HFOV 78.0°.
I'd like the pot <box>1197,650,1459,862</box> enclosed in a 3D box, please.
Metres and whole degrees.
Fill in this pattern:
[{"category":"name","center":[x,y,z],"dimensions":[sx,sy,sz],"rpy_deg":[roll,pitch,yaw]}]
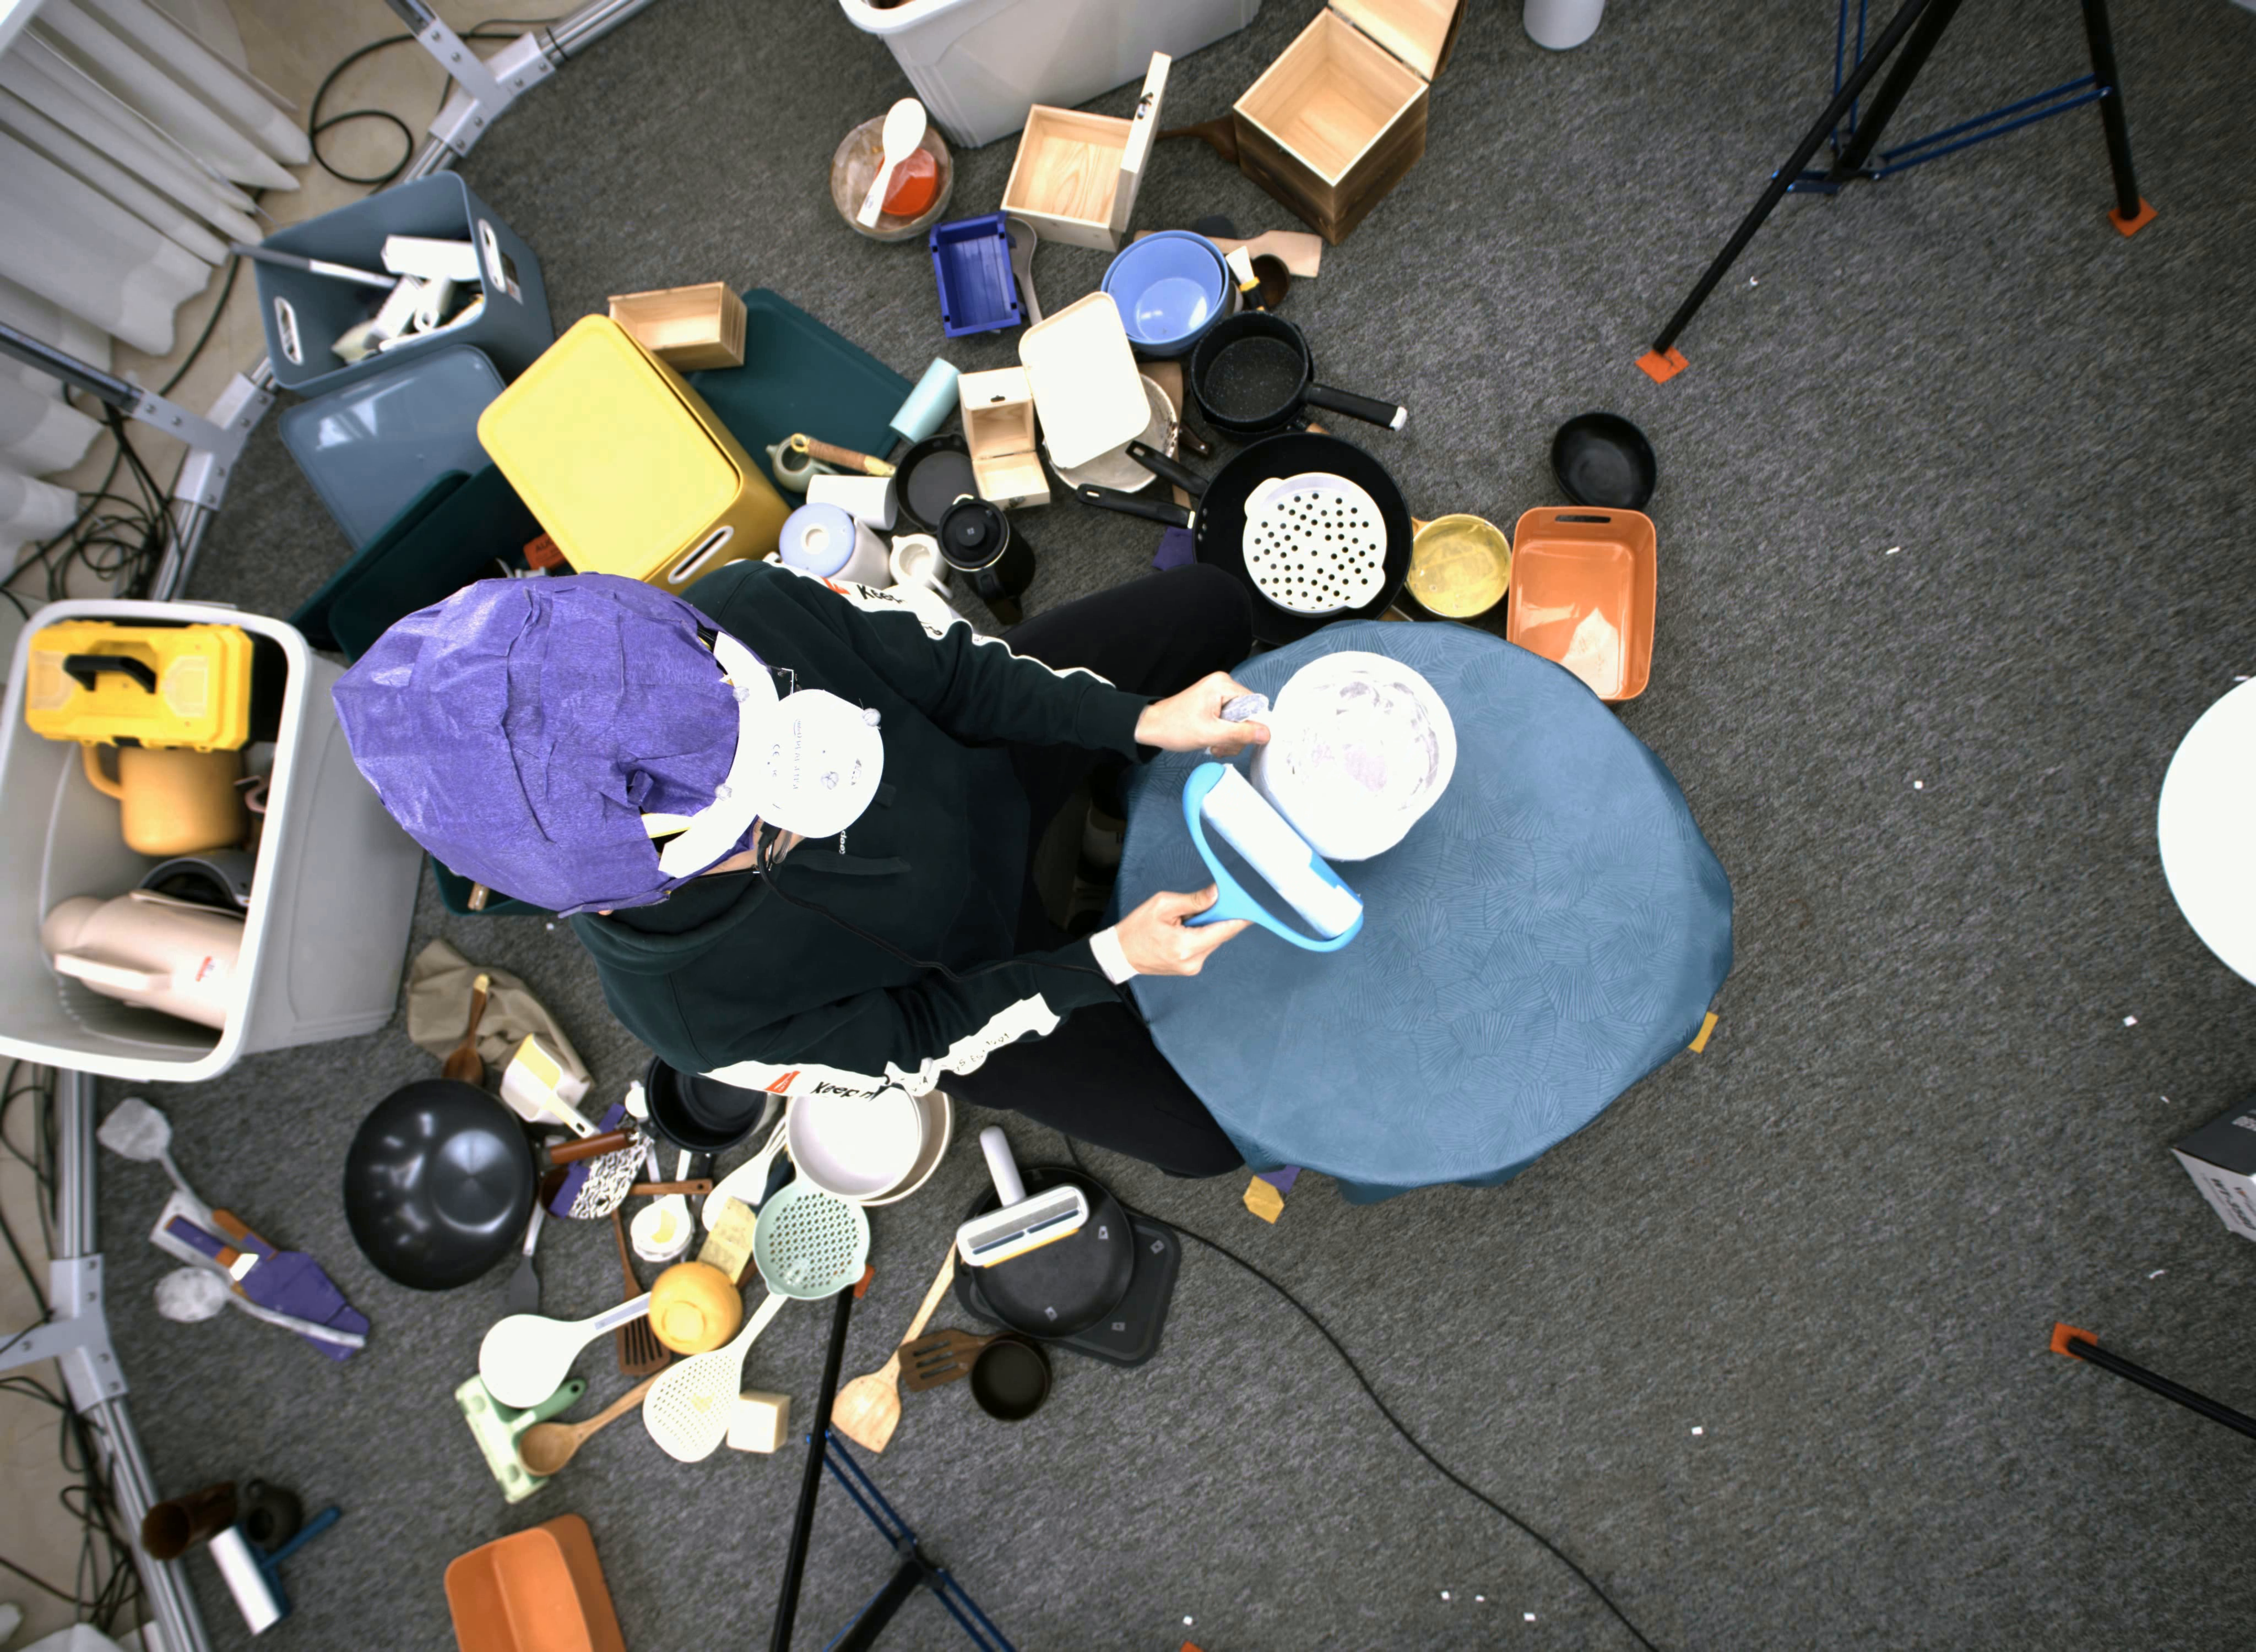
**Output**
[{"category":"pot","center":[0.186,-0.071,1.328],"dimensions":[0.234,0.139,0.175],"rpy_deg":[17,70,-2]}]

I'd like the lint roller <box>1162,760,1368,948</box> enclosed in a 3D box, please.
[{"category":"lint roller","center":[0.103,0.063,1.324],"dimensions":[0.230,0.066,0.182],"rpy_deg":[39,106,-16]}]
